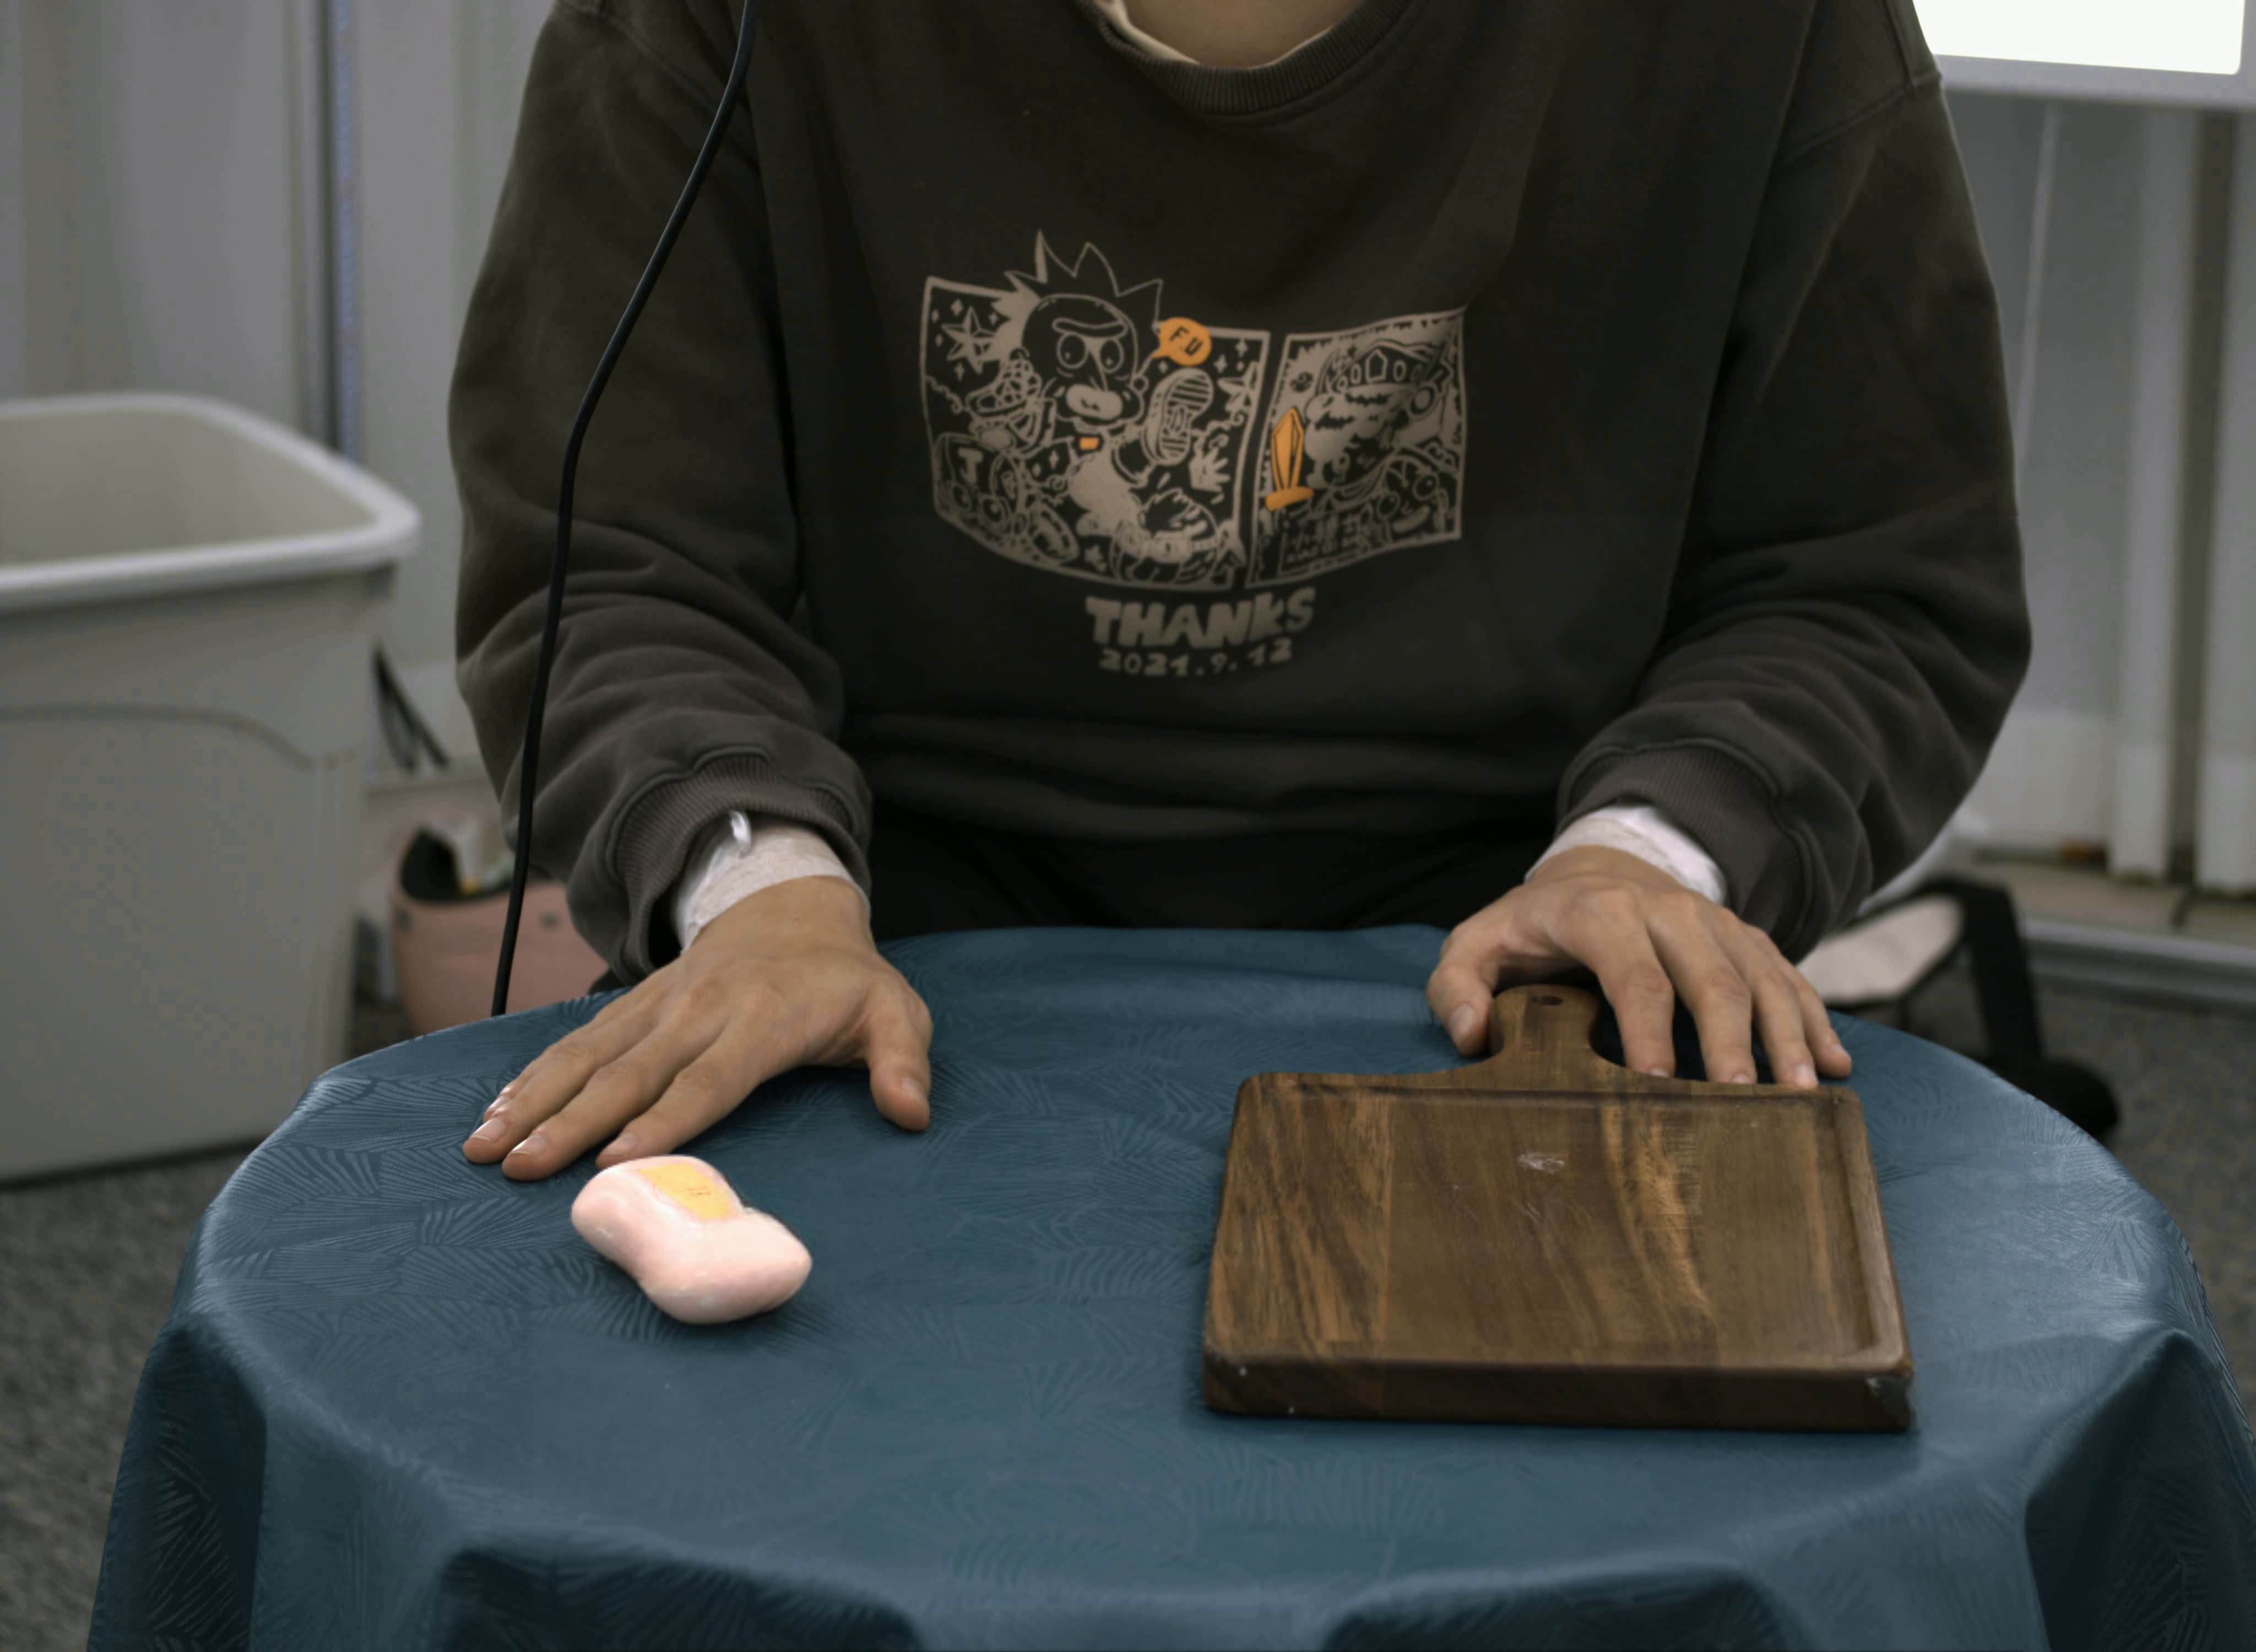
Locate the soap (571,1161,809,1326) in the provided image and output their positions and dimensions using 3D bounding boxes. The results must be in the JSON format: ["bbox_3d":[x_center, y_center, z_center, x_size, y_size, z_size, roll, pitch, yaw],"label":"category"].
[{"bbox_3d":[-0.129,0.122,1.541,0.050,0.030,0.093,-6,15,-24],"label":"soap"}]

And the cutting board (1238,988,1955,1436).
[{"bbox_3d":[0.140,0.110,1.605,0.200,0.023,0.351,2,15,4],"label":"cutting board"}]
